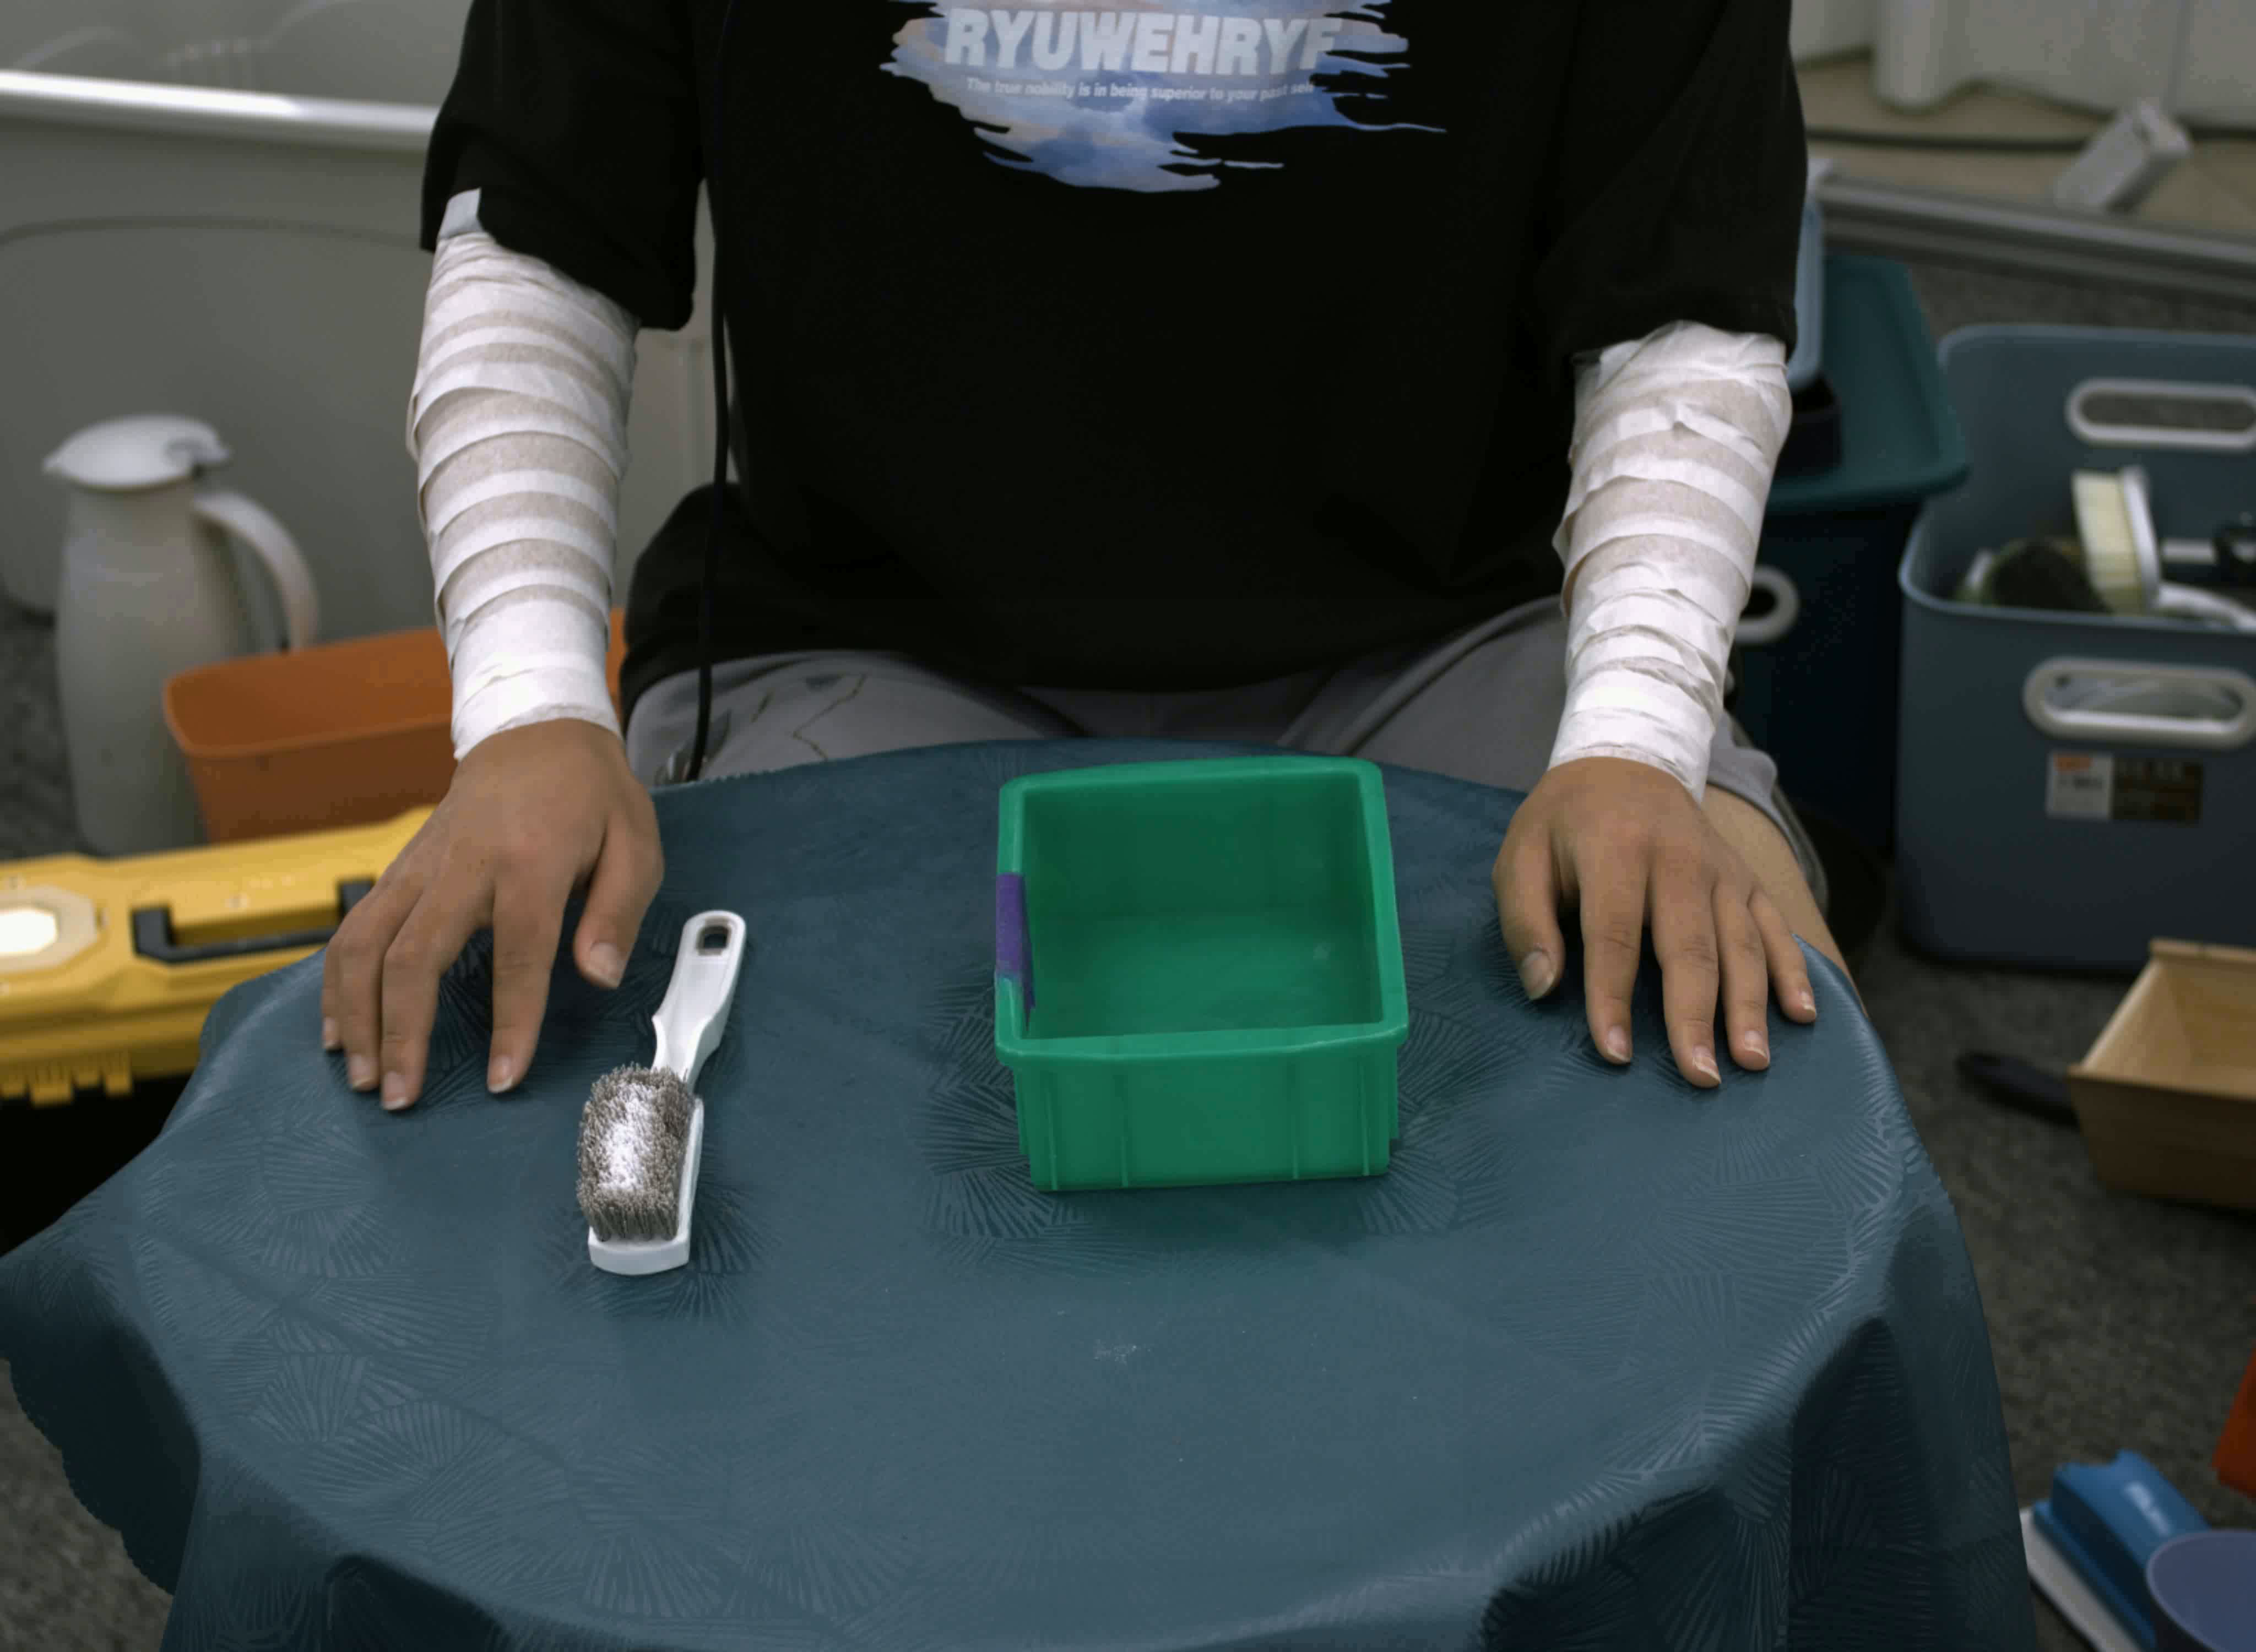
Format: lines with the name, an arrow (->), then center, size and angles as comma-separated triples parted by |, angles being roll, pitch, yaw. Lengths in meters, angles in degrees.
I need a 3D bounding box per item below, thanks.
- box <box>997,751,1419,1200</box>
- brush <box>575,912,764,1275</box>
box -> 0.026, 0.052, 1.927 | 0.138, 0.064, 0.213 | -6, 28, 0
brush -> -0.154, 0.074, 1.917 | 0.034, 0.050, 0.247 | -2, 27, 6
